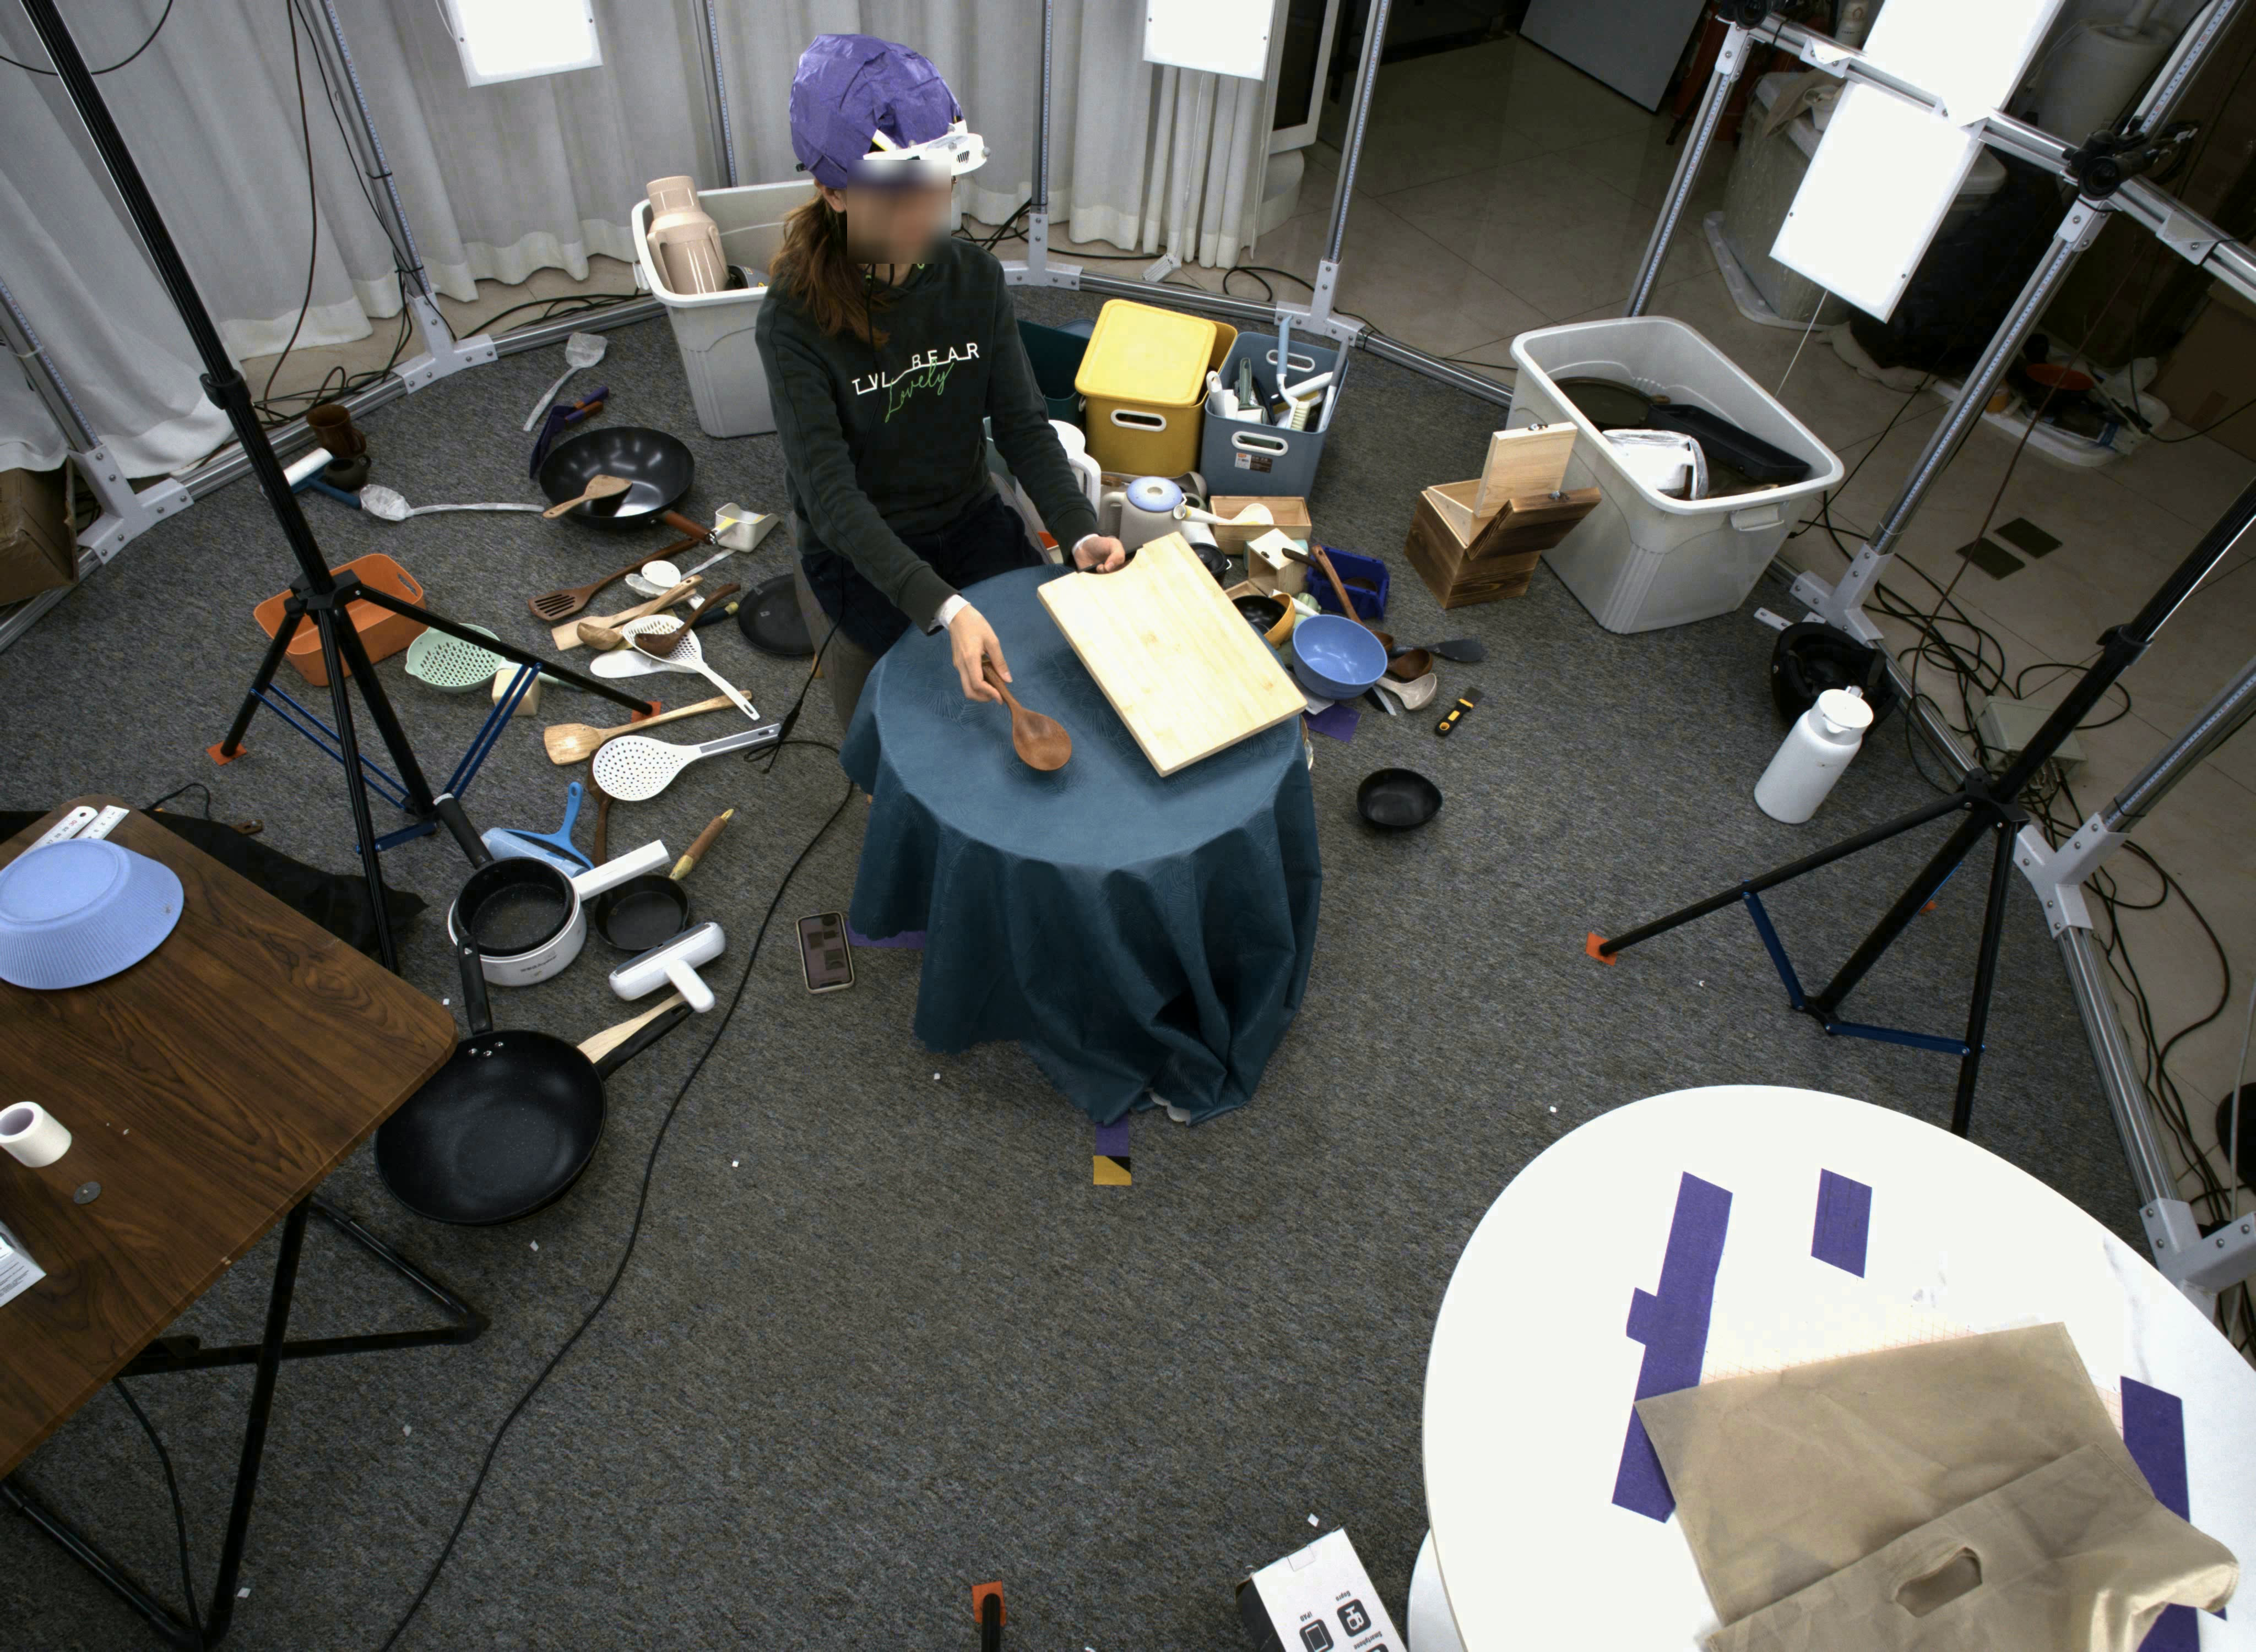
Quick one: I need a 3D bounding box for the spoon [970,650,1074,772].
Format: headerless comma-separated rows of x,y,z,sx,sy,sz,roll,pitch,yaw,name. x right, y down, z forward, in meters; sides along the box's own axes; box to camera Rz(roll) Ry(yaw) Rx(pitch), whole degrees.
-0.149,-0.158,1.743,0.076,0.017,0.219,-31,70,-17,spoon

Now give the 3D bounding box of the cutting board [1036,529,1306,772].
0.057,-0.255,1.820,0.252,0.023,0.354,-26,66,-21,cutting board
